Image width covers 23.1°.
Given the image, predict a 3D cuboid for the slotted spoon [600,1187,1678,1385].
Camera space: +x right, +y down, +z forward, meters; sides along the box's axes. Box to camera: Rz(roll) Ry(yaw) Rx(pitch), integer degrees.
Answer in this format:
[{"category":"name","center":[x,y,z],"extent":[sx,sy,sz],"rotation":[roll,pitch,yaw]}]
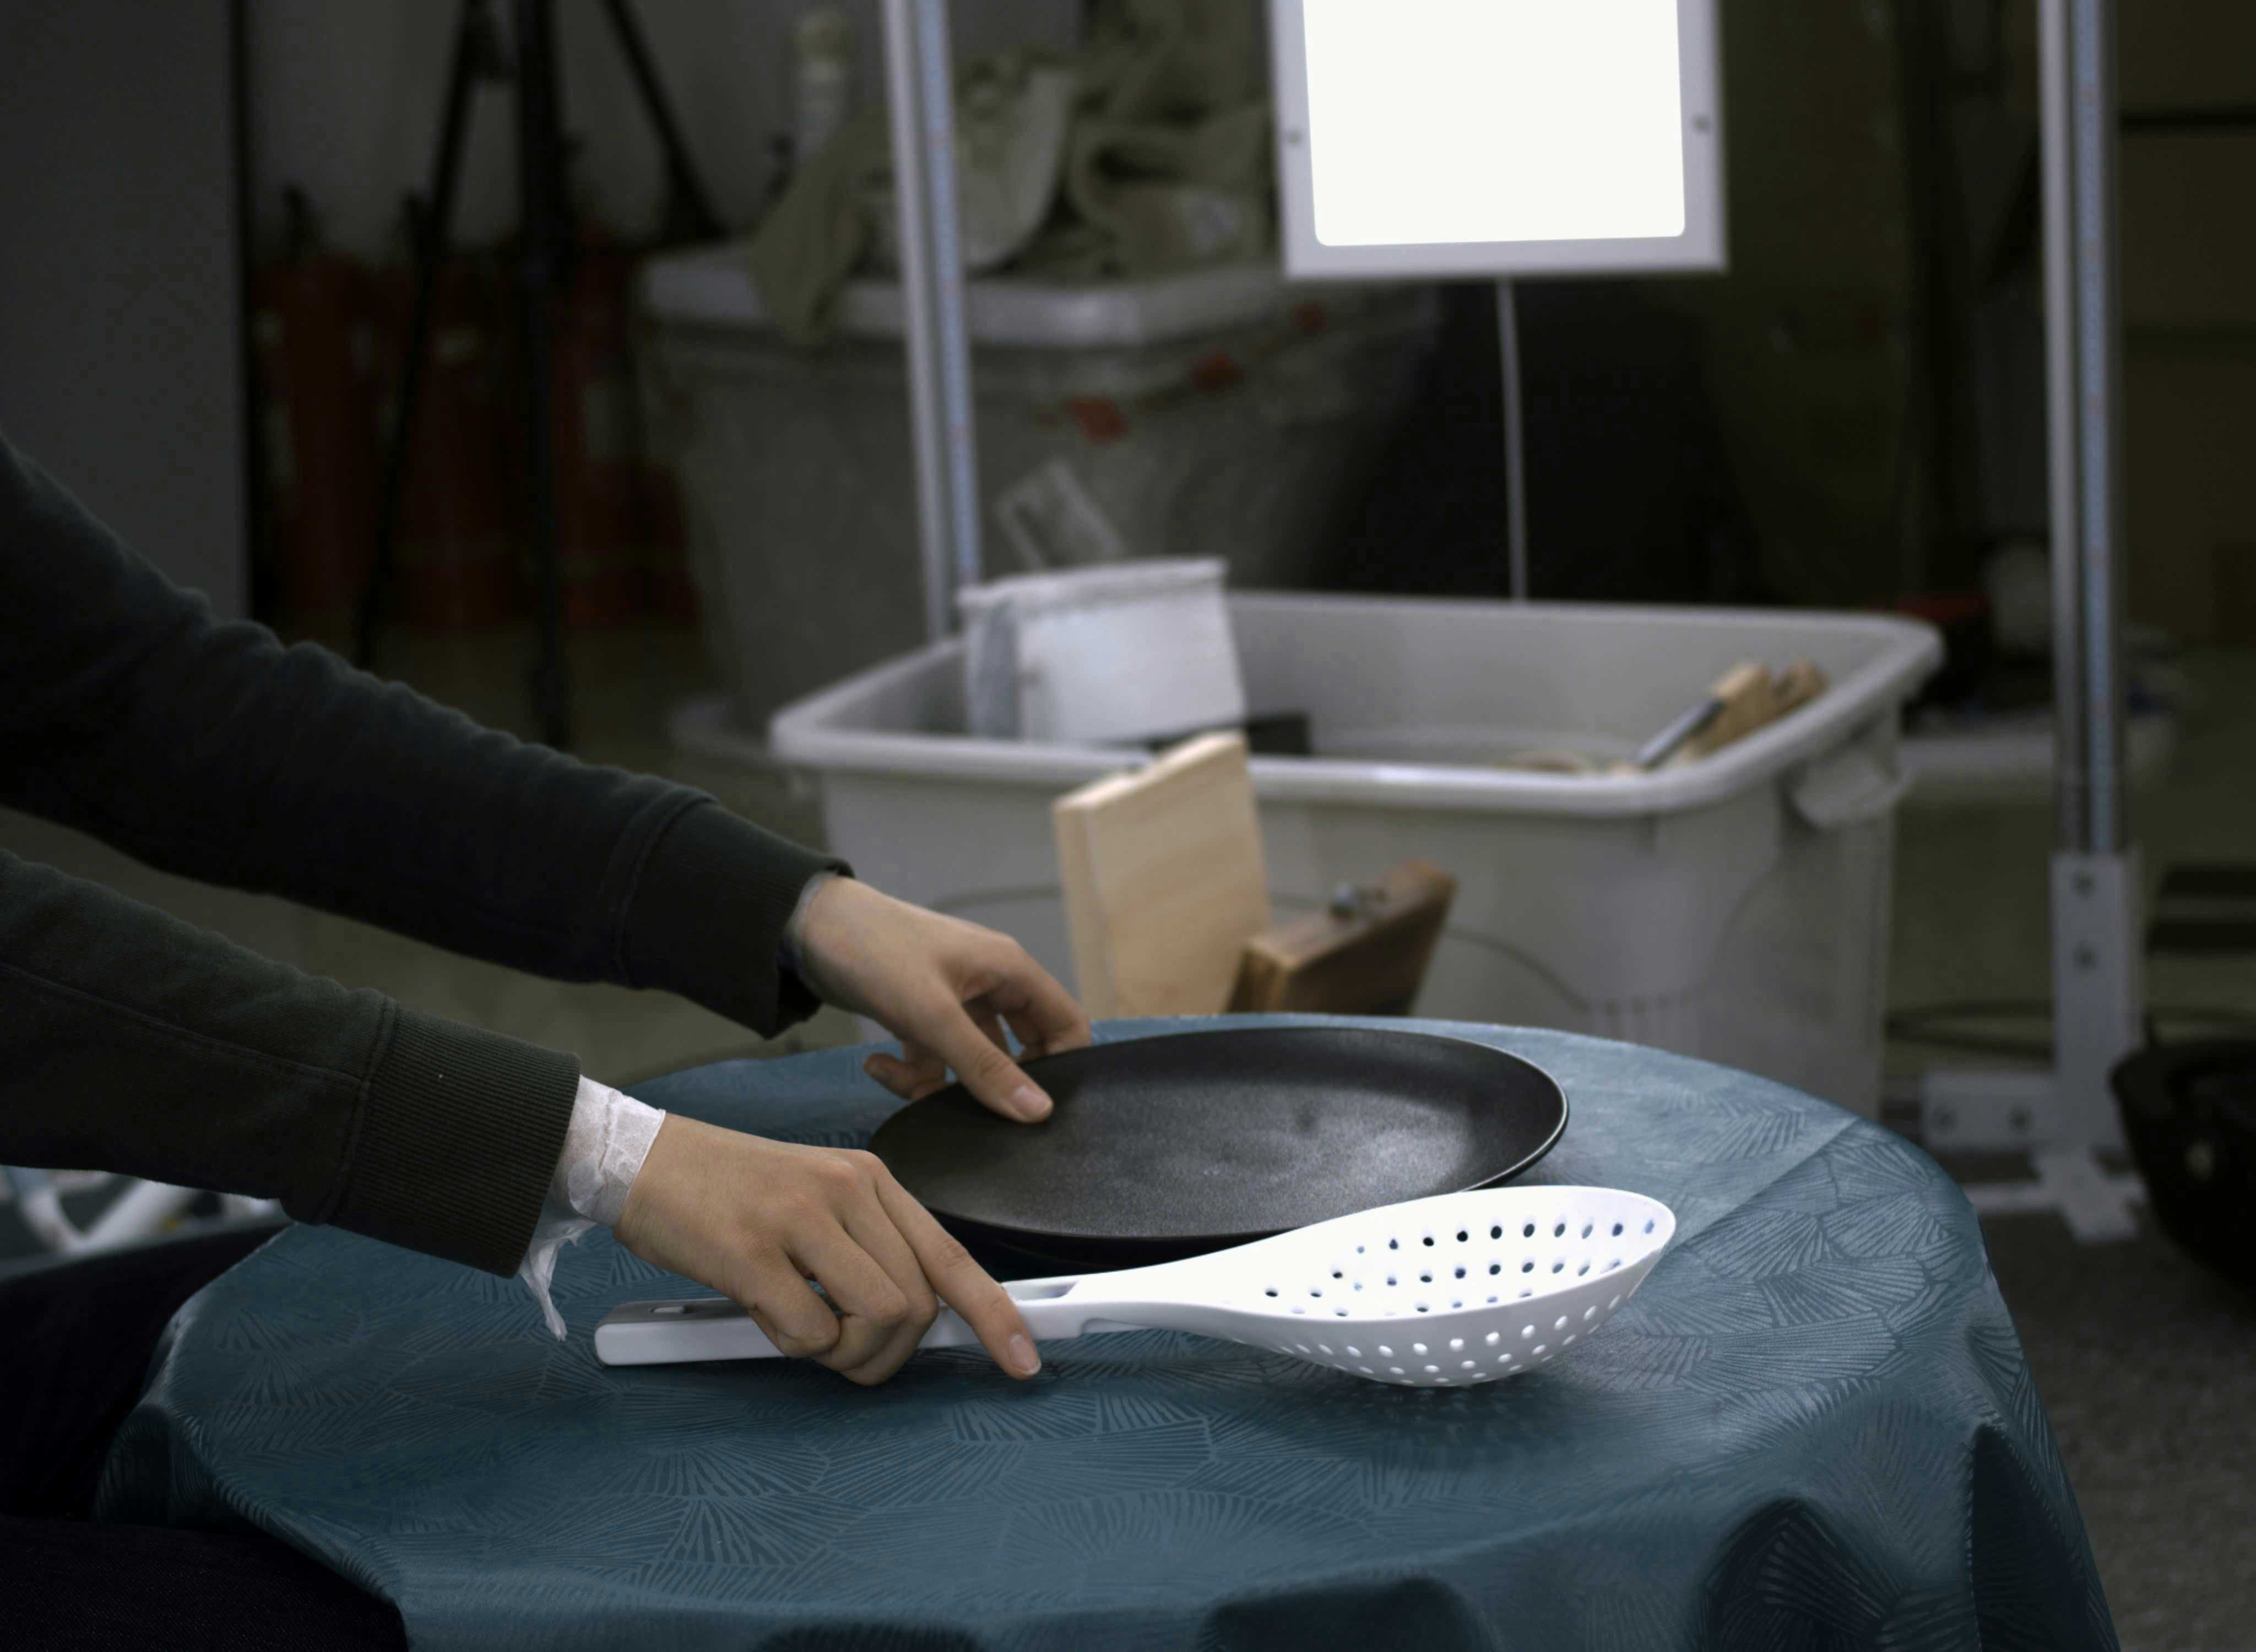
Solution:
[{"category":"slotted spoon","center":[-0.001,0.147,1.717],"extent":[0.354,0.046,0.134],"rotation":[-1,11,18]}]

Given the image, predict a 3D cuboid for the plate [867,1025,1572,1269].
[{"category":"plate","center":[0.032,0.113,1.893],"extent":[0.244,0.023,0.244],"rotation":[-5,14,0]}]
